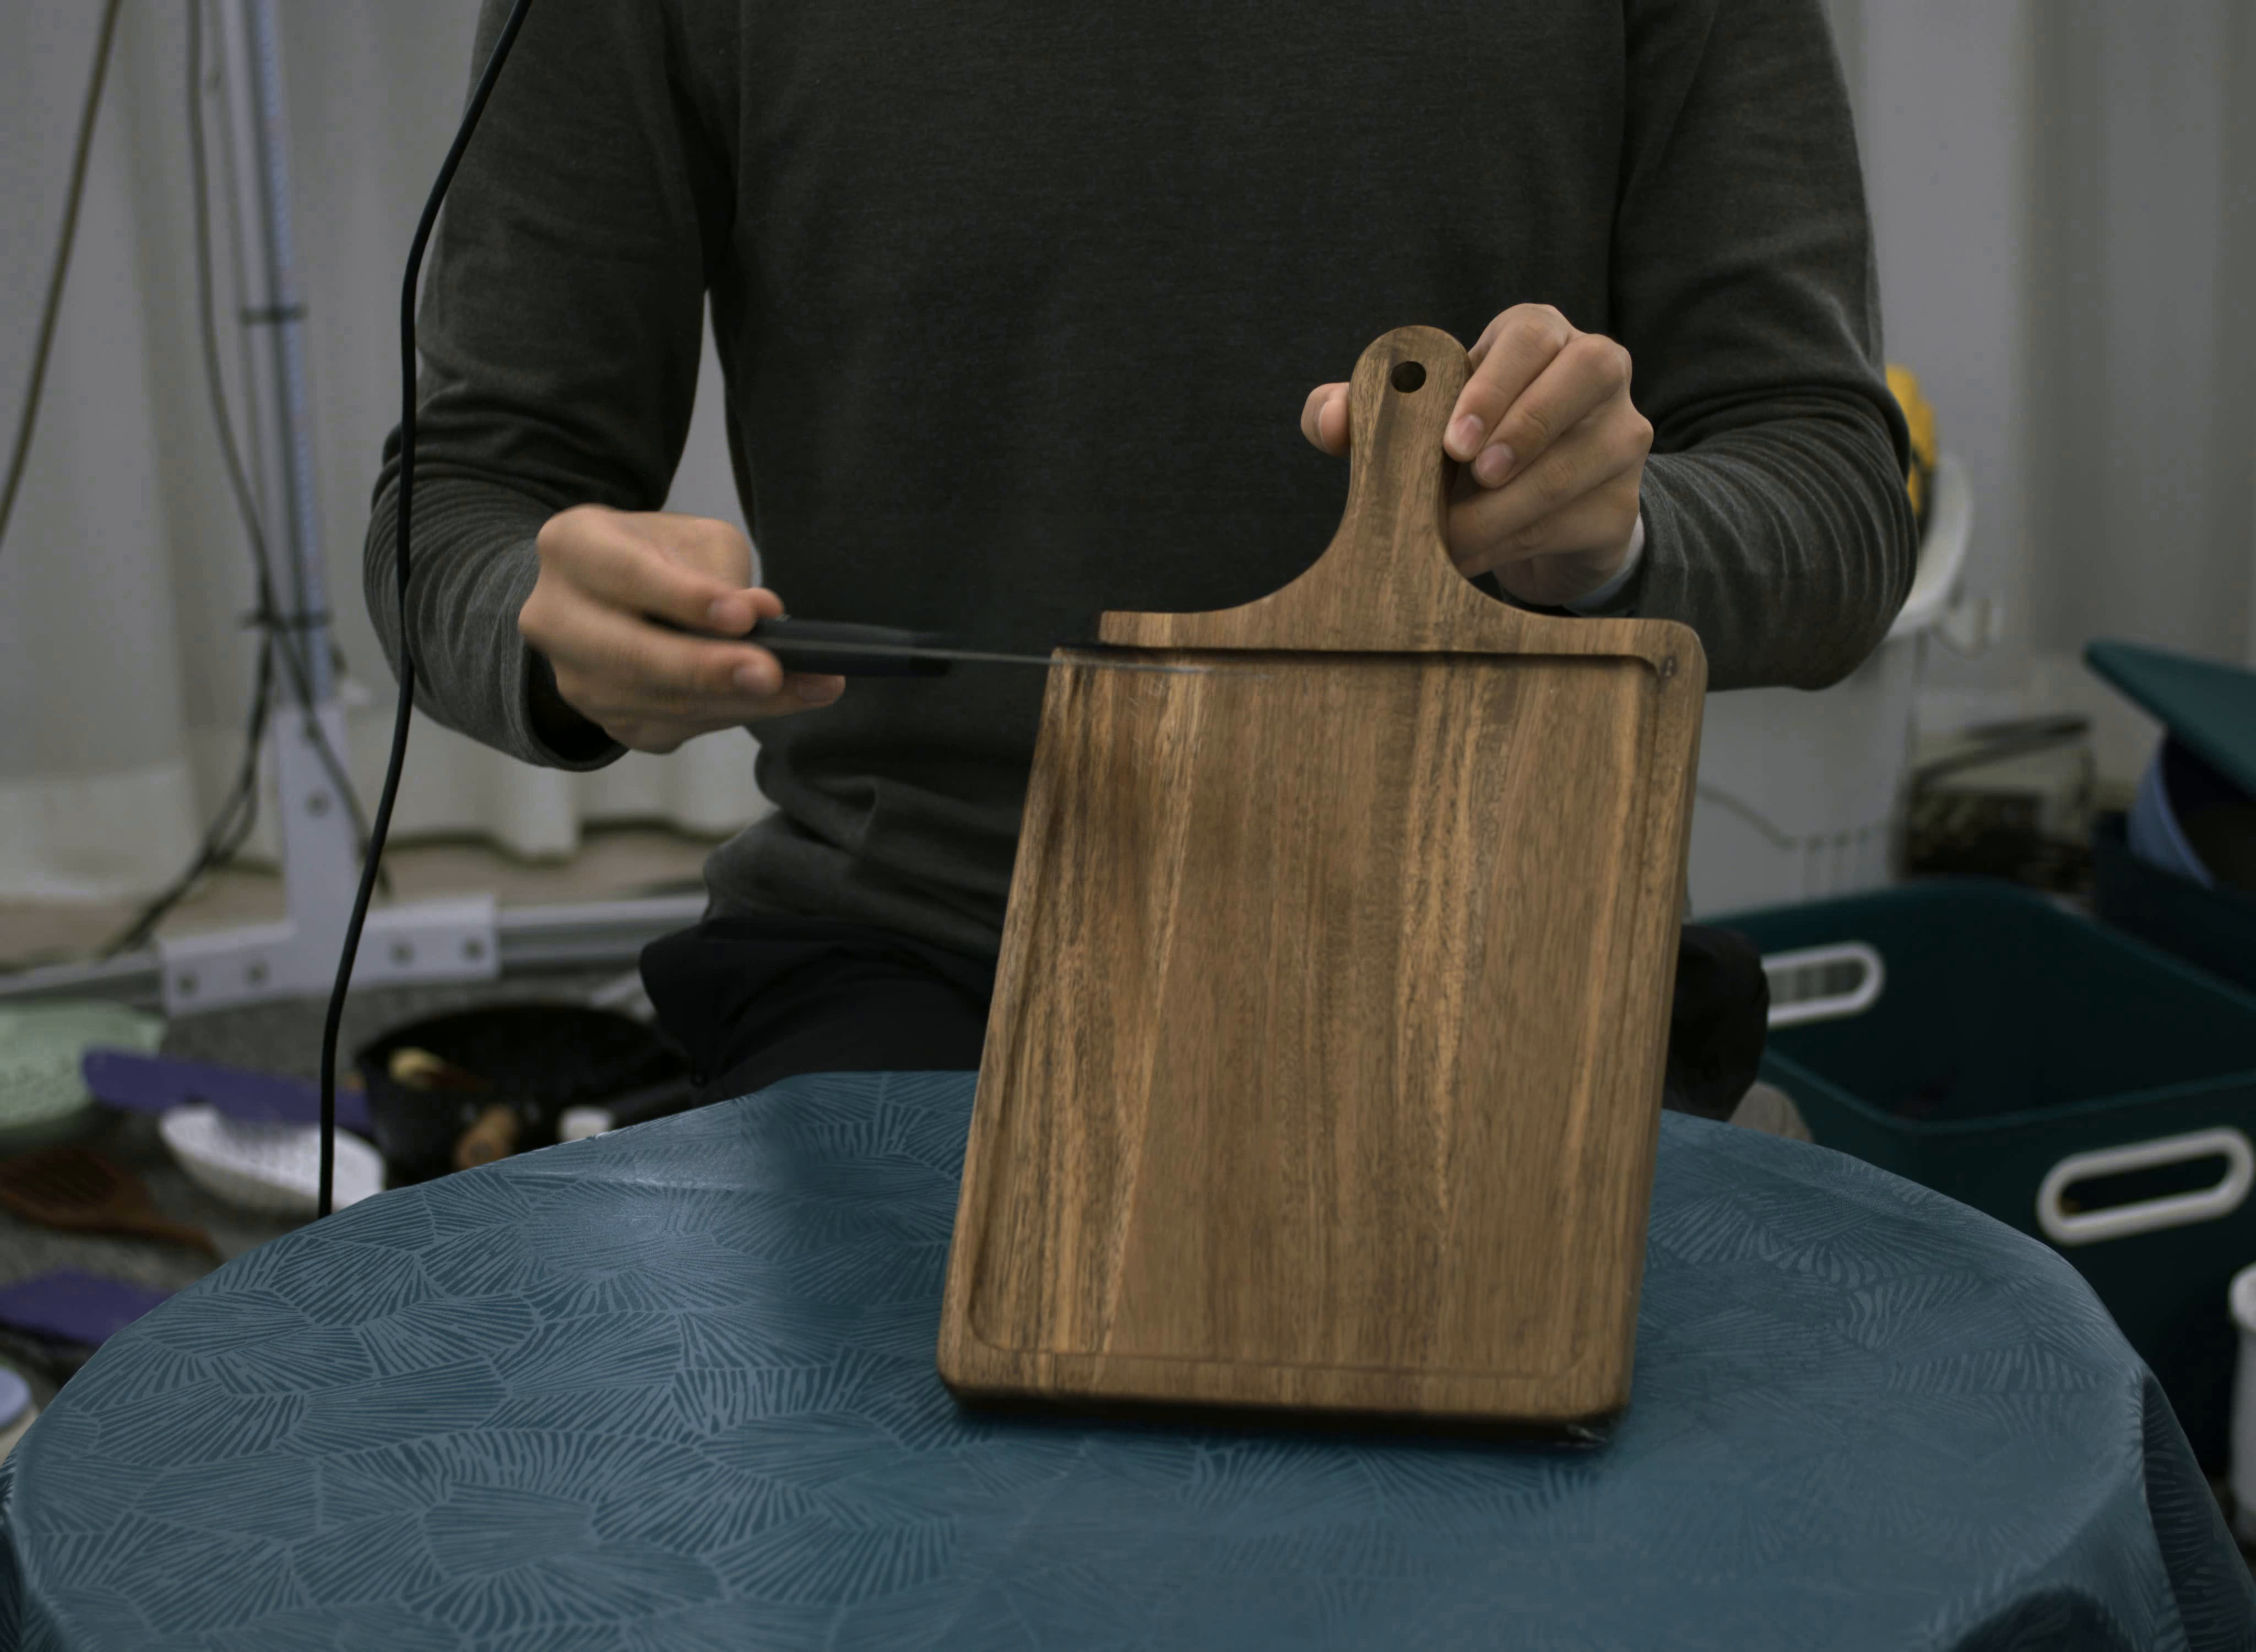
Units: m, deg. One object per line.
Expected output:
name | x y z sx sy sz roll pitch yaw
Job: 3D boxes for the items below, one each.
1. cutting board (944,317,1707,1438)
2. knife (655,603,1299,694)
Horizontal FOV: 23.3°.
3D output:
cutting board | 0.065 0.007 1.583 0.201 0.357 0.023 1 -28 16
knife | -0.050 -0.050 1.614 0.239 0.016 0.024 7 -11 36
